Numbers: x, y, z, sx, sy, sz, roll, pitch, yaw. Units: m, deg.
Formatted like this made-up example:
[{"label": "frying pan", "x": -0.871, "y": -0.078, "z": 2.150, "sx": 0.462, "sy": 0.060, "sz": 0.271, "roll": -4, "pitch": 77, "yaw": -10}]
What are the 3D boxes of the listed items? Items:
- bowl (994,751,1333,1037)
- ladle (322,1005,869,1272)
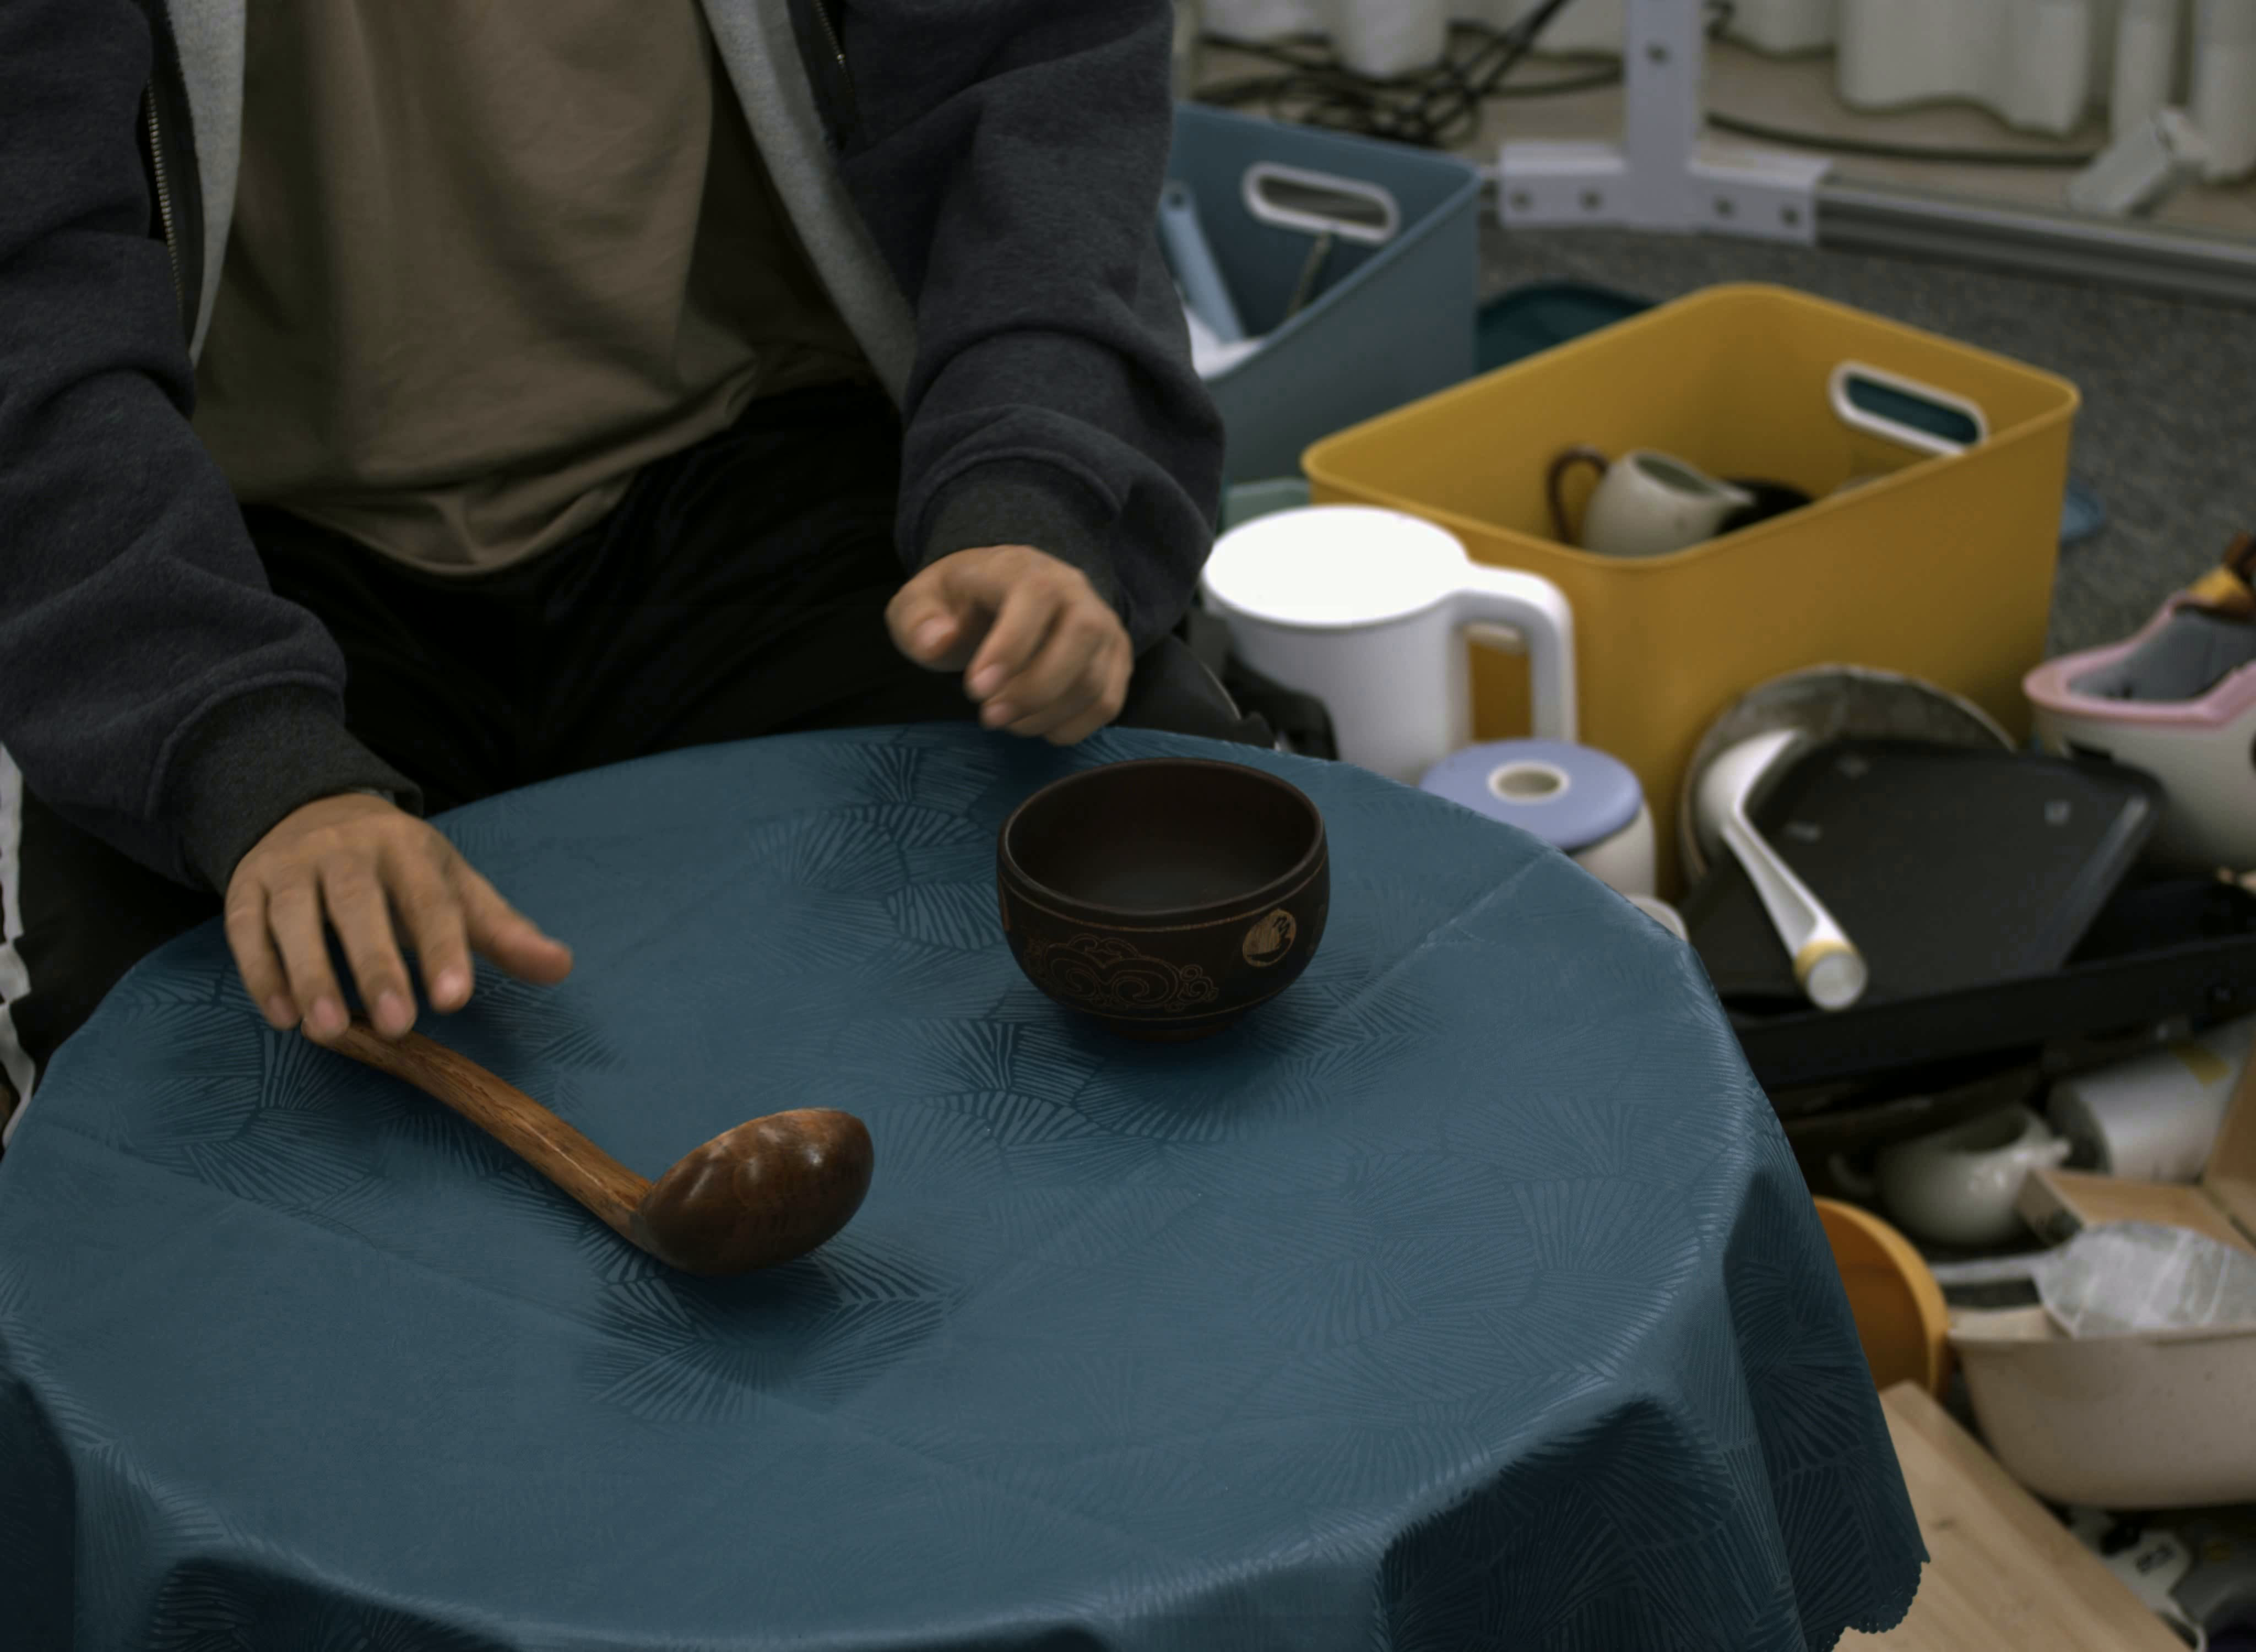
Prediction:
[{"label": "bowl", "x": 0.013, "y": 0.030, "z": 1.957, "sx": 0.117, "sy": 0.069, "sz": 0.120, "roll": -3, "pitch": 27, "yaw": 2}, {"label": "ladle", "x": -0.188, "y": 0.081, "z": 1.875, "sx": 0.082, "sy": 0.076, "sz": 0.274, "roll": 4, "pitch": 16, "yaw": -42}]
